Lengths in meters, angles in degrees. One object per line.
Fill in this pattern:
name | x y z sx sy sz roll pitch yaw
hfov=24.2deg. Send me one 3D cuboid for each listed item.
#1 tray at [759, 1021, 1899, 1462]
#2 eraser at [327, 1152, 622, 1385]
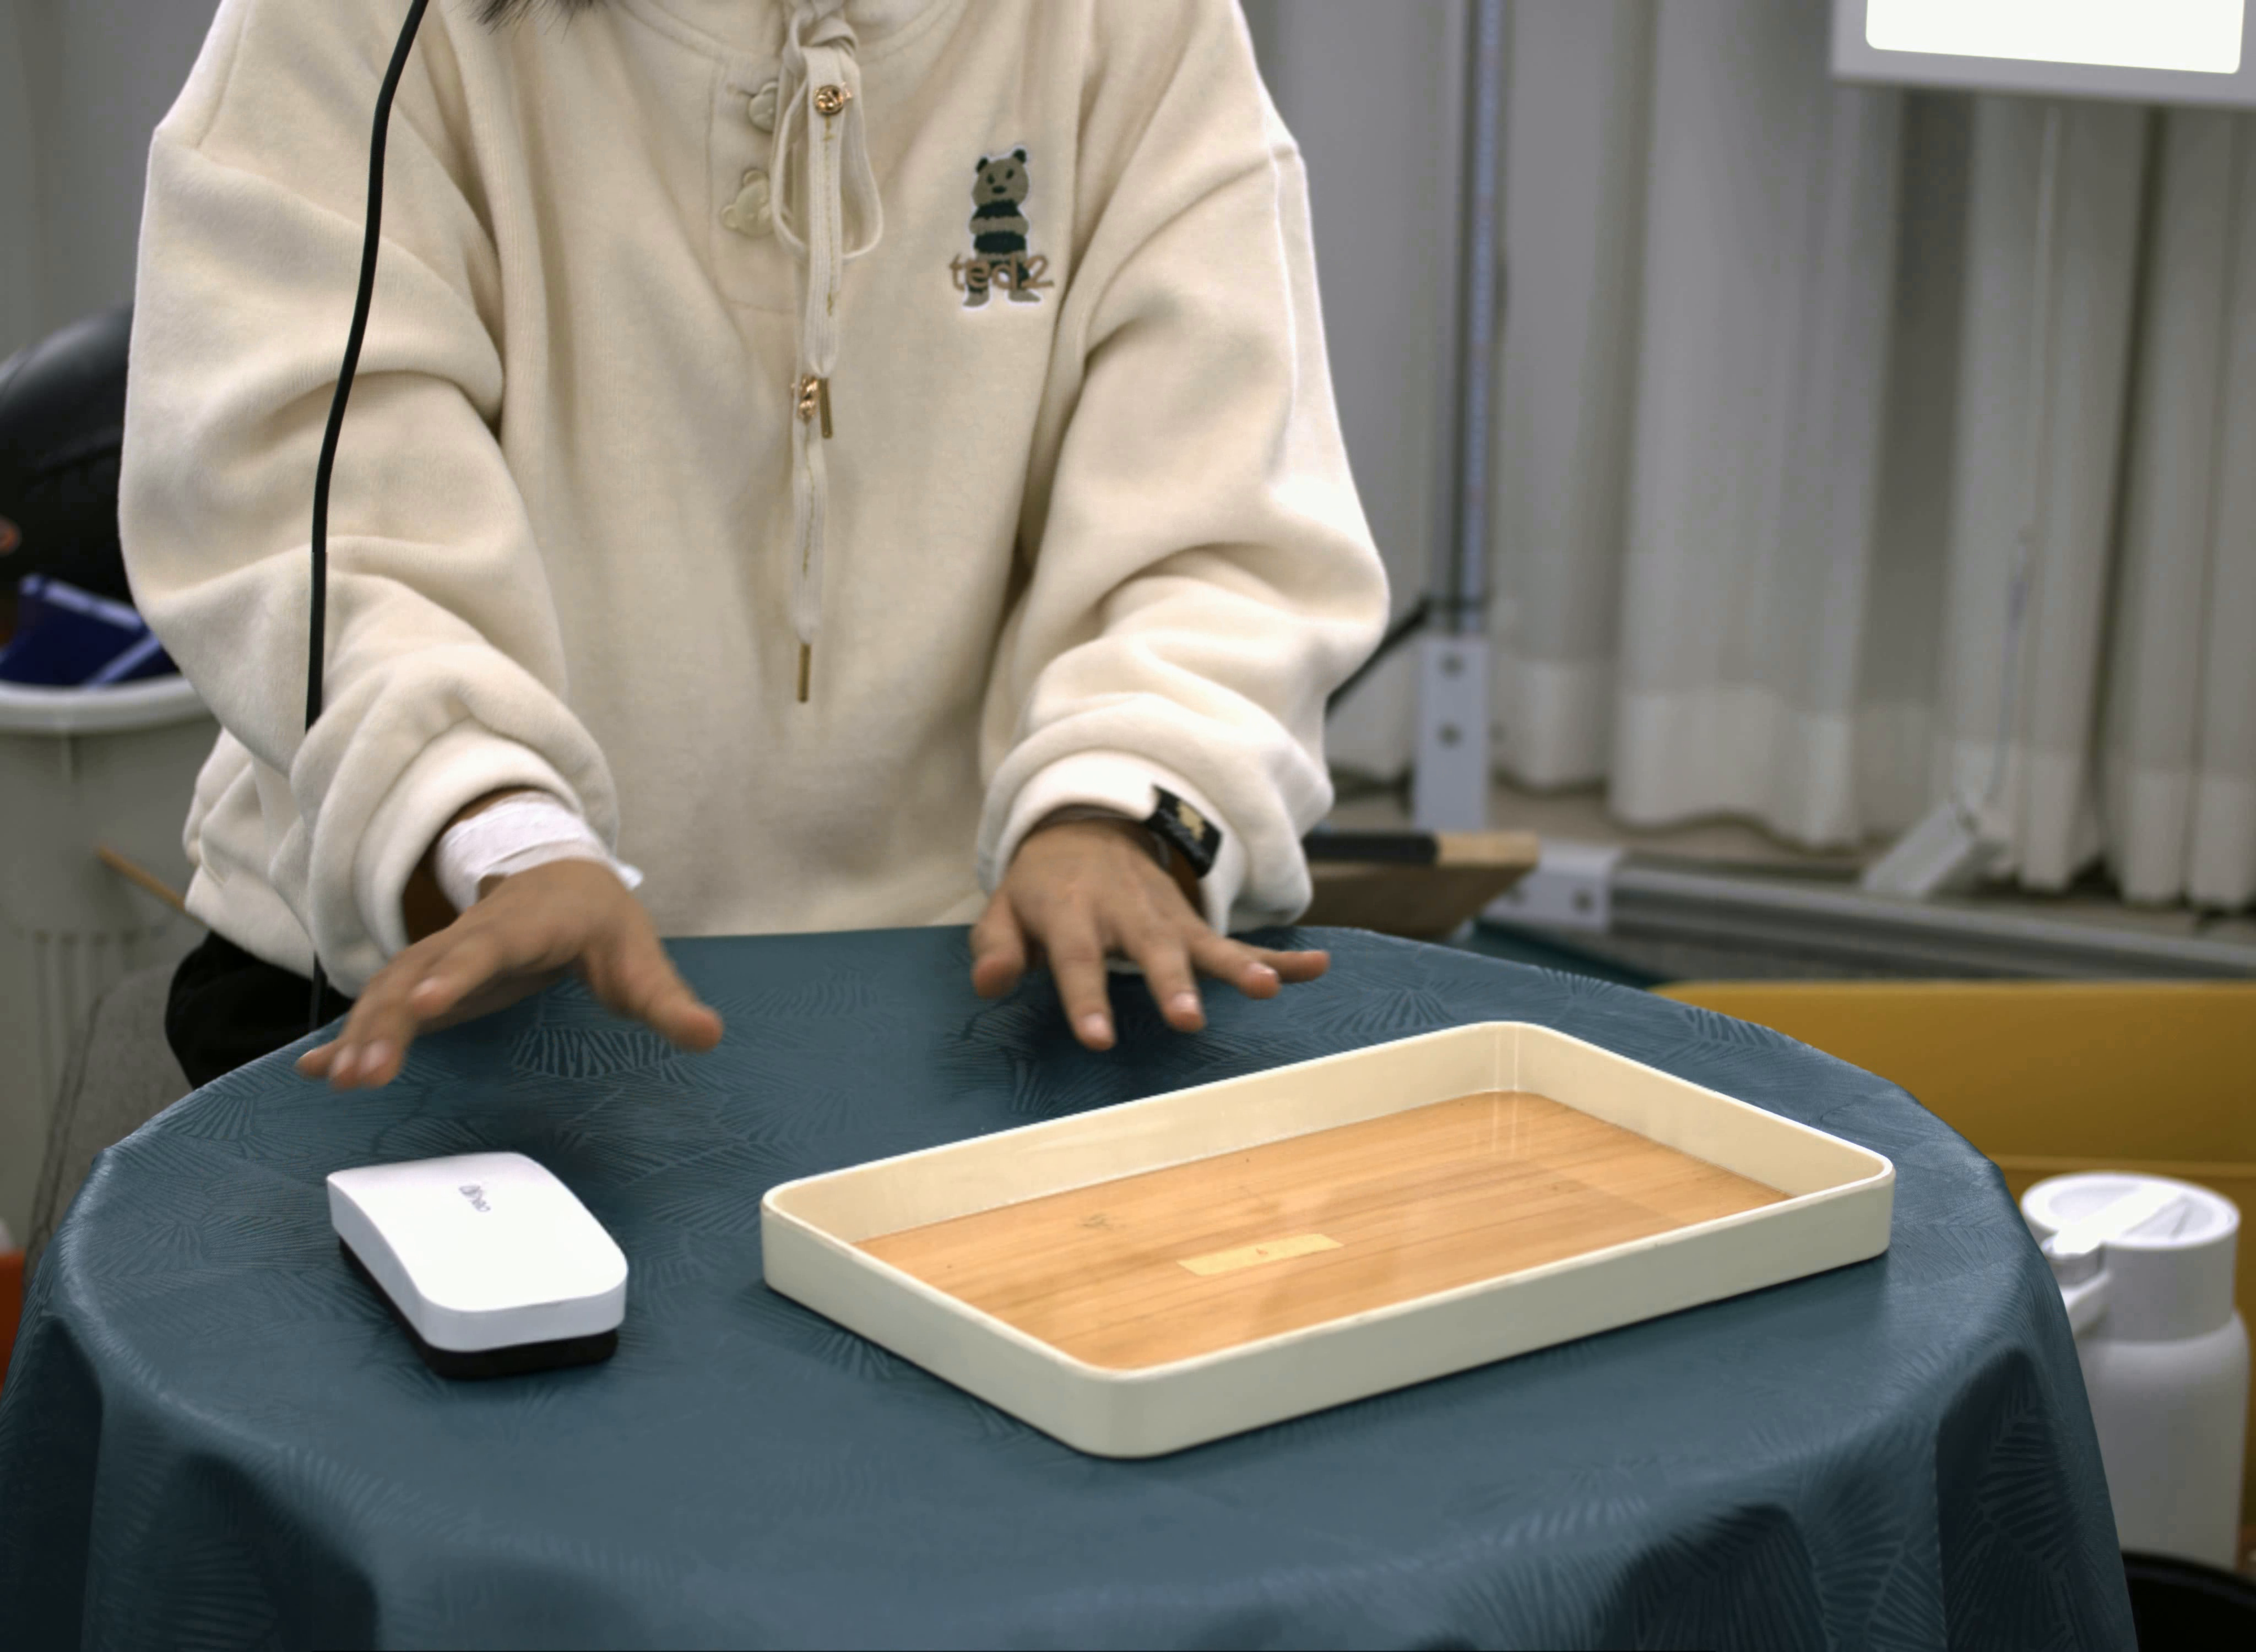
tray | 0.061 0.117 1.554 0.302 0.027 0.189 -11 19 -35
eraser | -0.188 0.123 1.520 0.063 0.035 0.130 -6 18 -20
